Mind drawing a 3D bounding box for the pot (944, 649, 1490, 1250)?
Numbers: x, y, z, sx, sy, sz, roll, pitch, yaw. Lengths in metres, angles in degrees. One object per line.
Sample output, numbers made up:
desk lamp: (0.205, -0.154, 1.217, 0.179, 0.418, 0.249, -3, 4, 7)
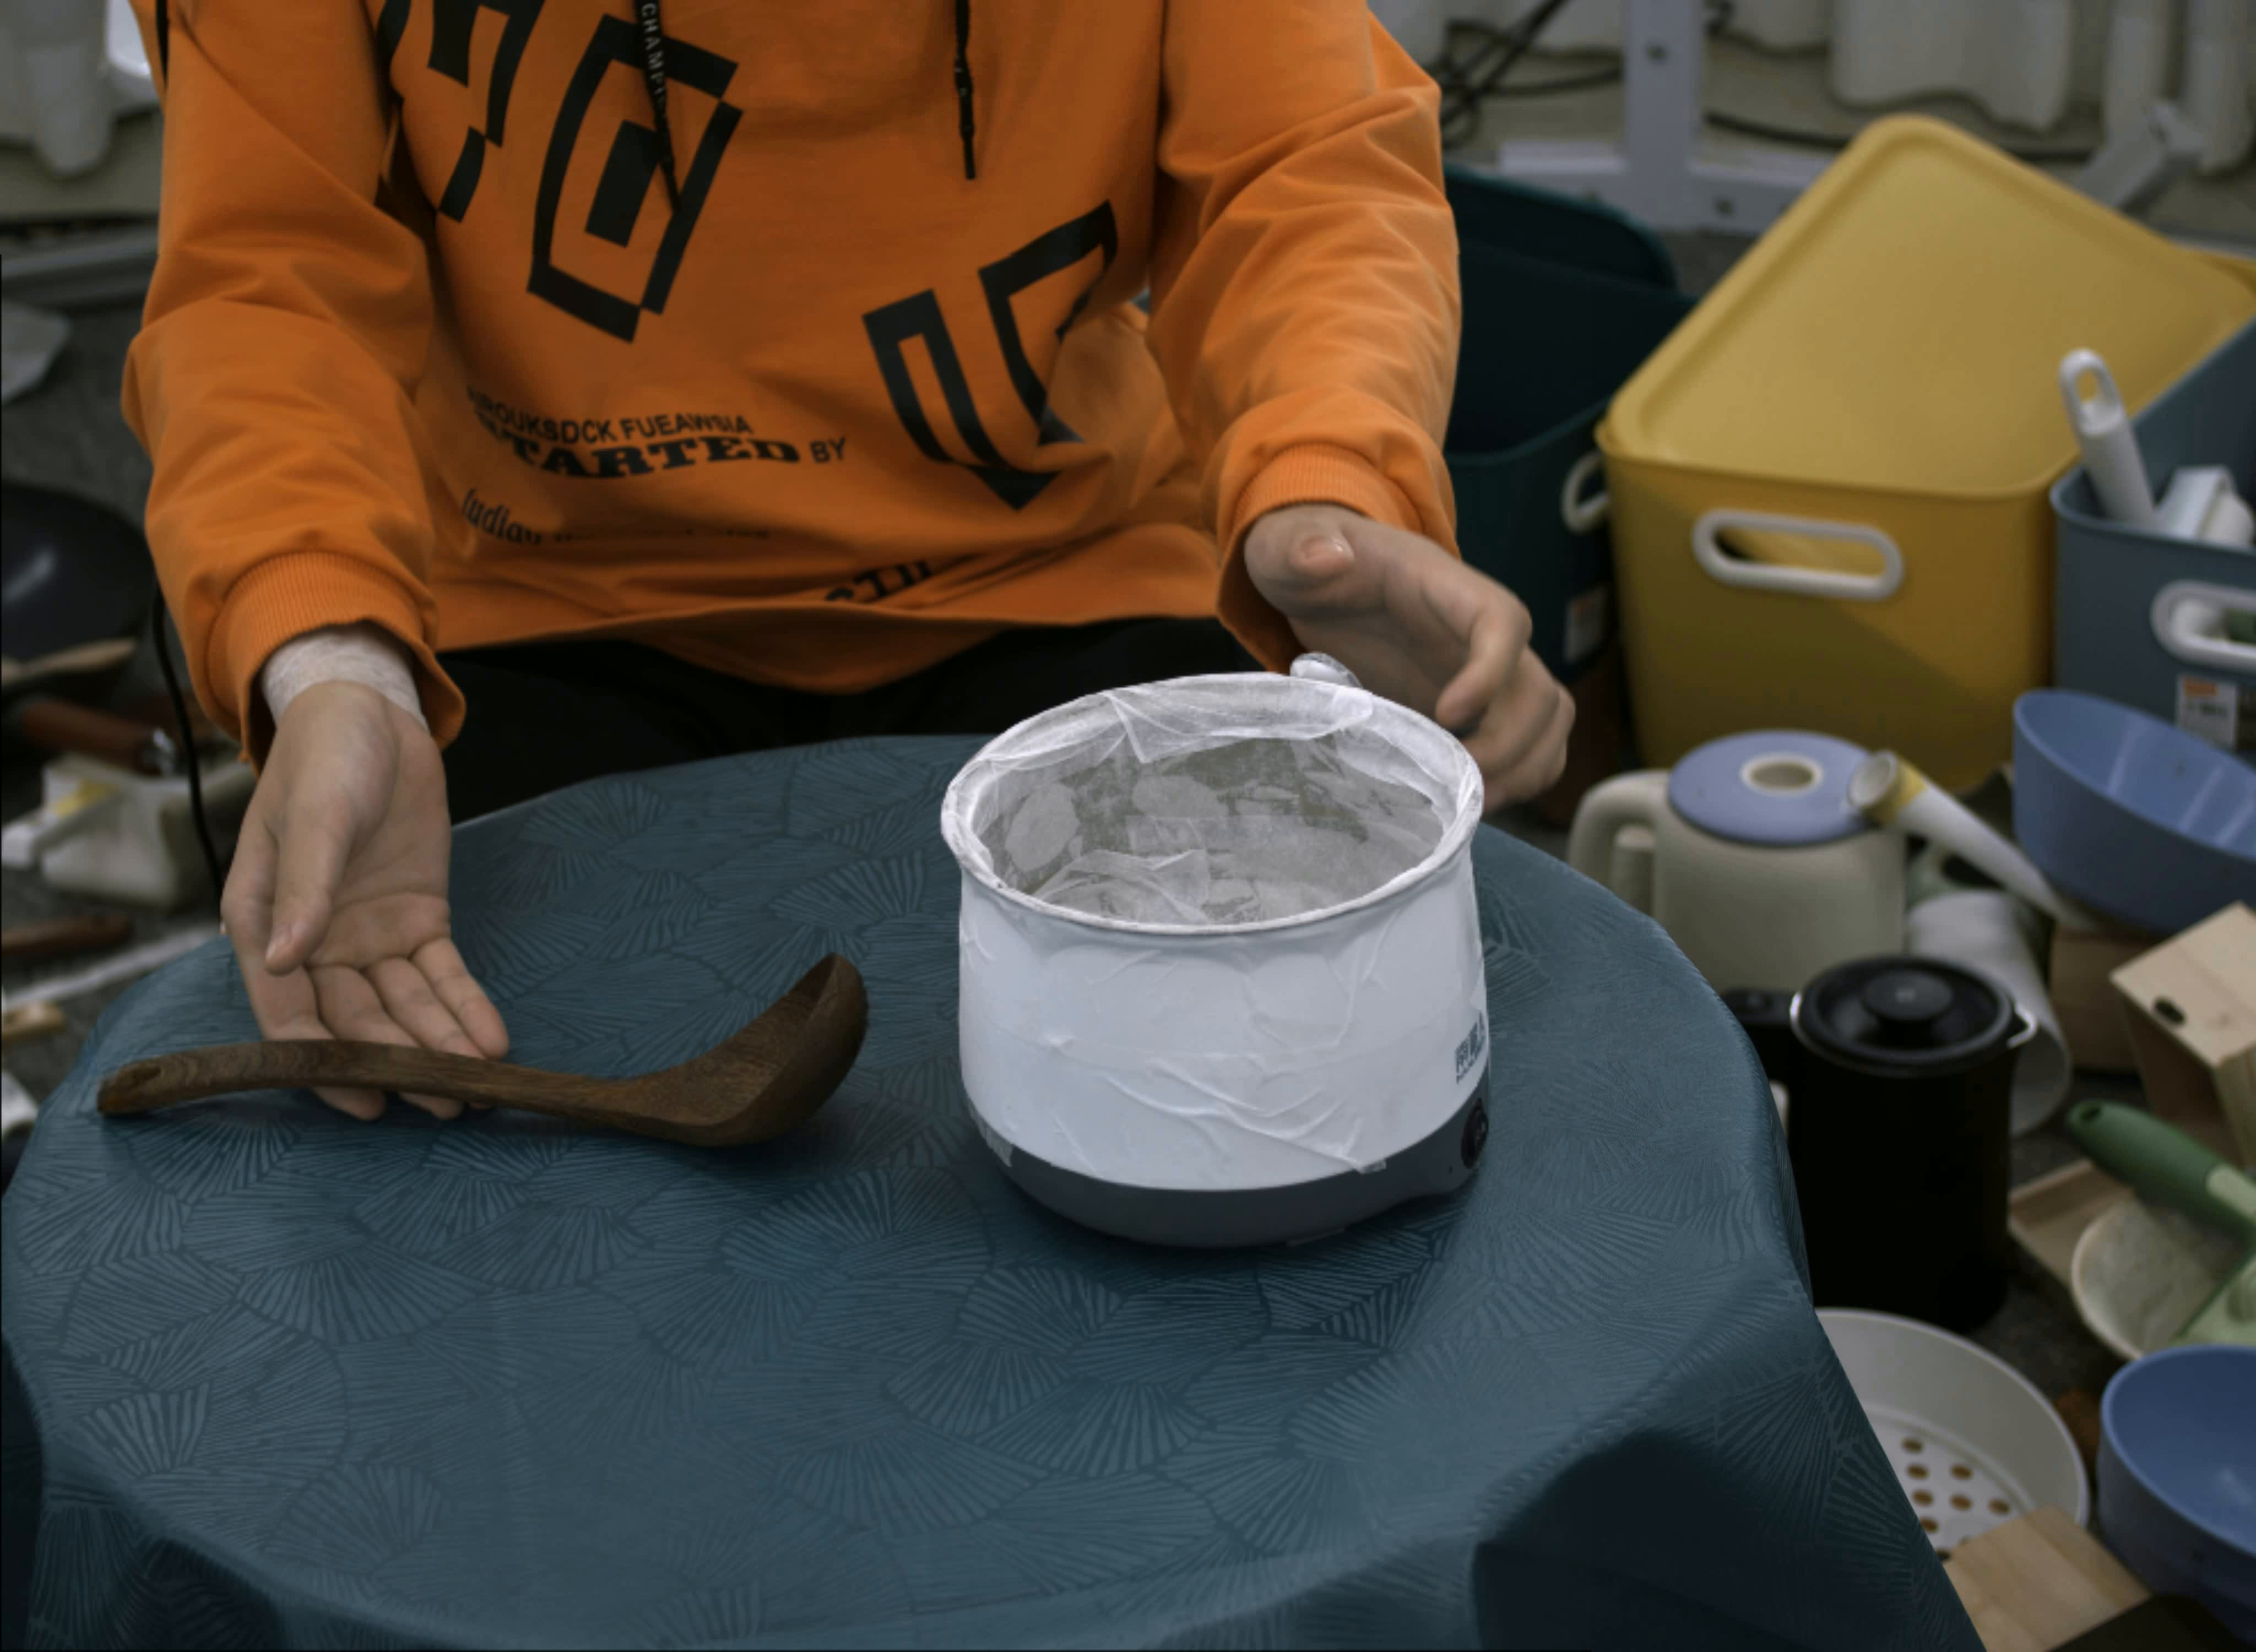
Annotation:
pot: (0.040, 0.033, 1.880, 0.177, 0.135, 0.238, 7, 29, 18)

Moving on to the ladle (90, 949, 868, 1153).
ladle: (-0.222, 0.071, 1.905, 0.272, 0.070, 0.077, 3, 26, 9)
